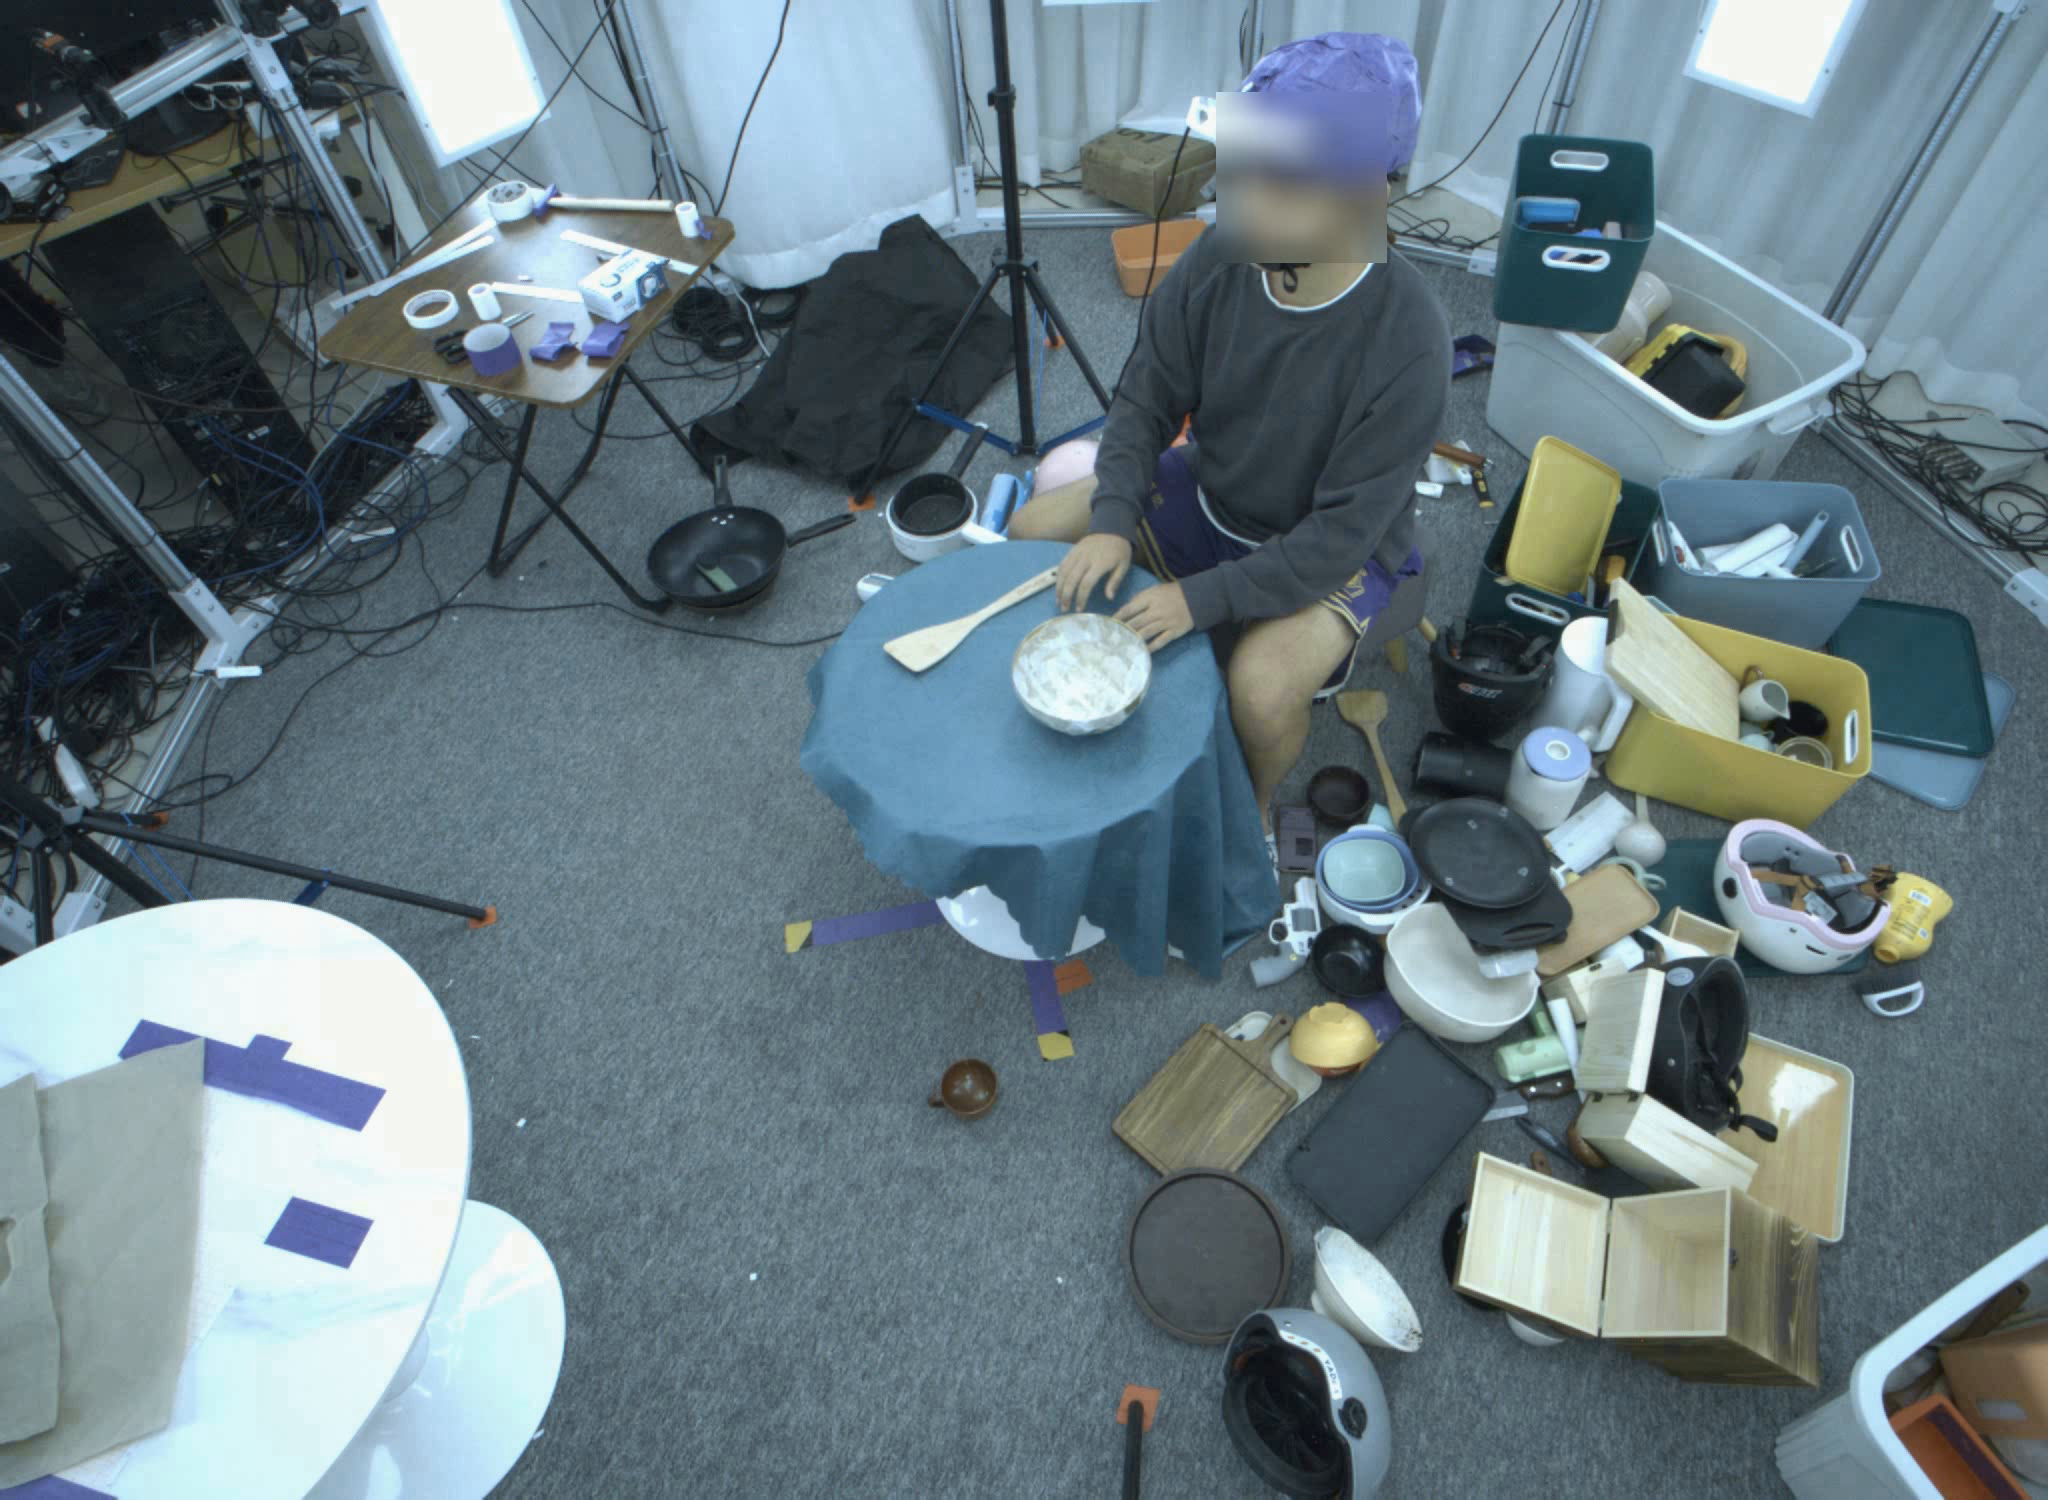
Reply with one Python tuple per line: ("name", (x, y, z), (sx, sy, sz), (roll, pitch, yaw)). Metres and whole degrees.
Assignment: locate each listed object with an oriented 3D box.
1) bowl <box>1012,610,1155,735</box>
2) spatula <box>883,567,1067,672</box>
("bowl", (0.089, -0.099, 1.798), (0.214, 0.095, 0.212), (-1, 55, 3))
("spatula", (-0.066, -0.213, 1.934), (0.330, 0.017, 0.078), (-32, 59, -19))
